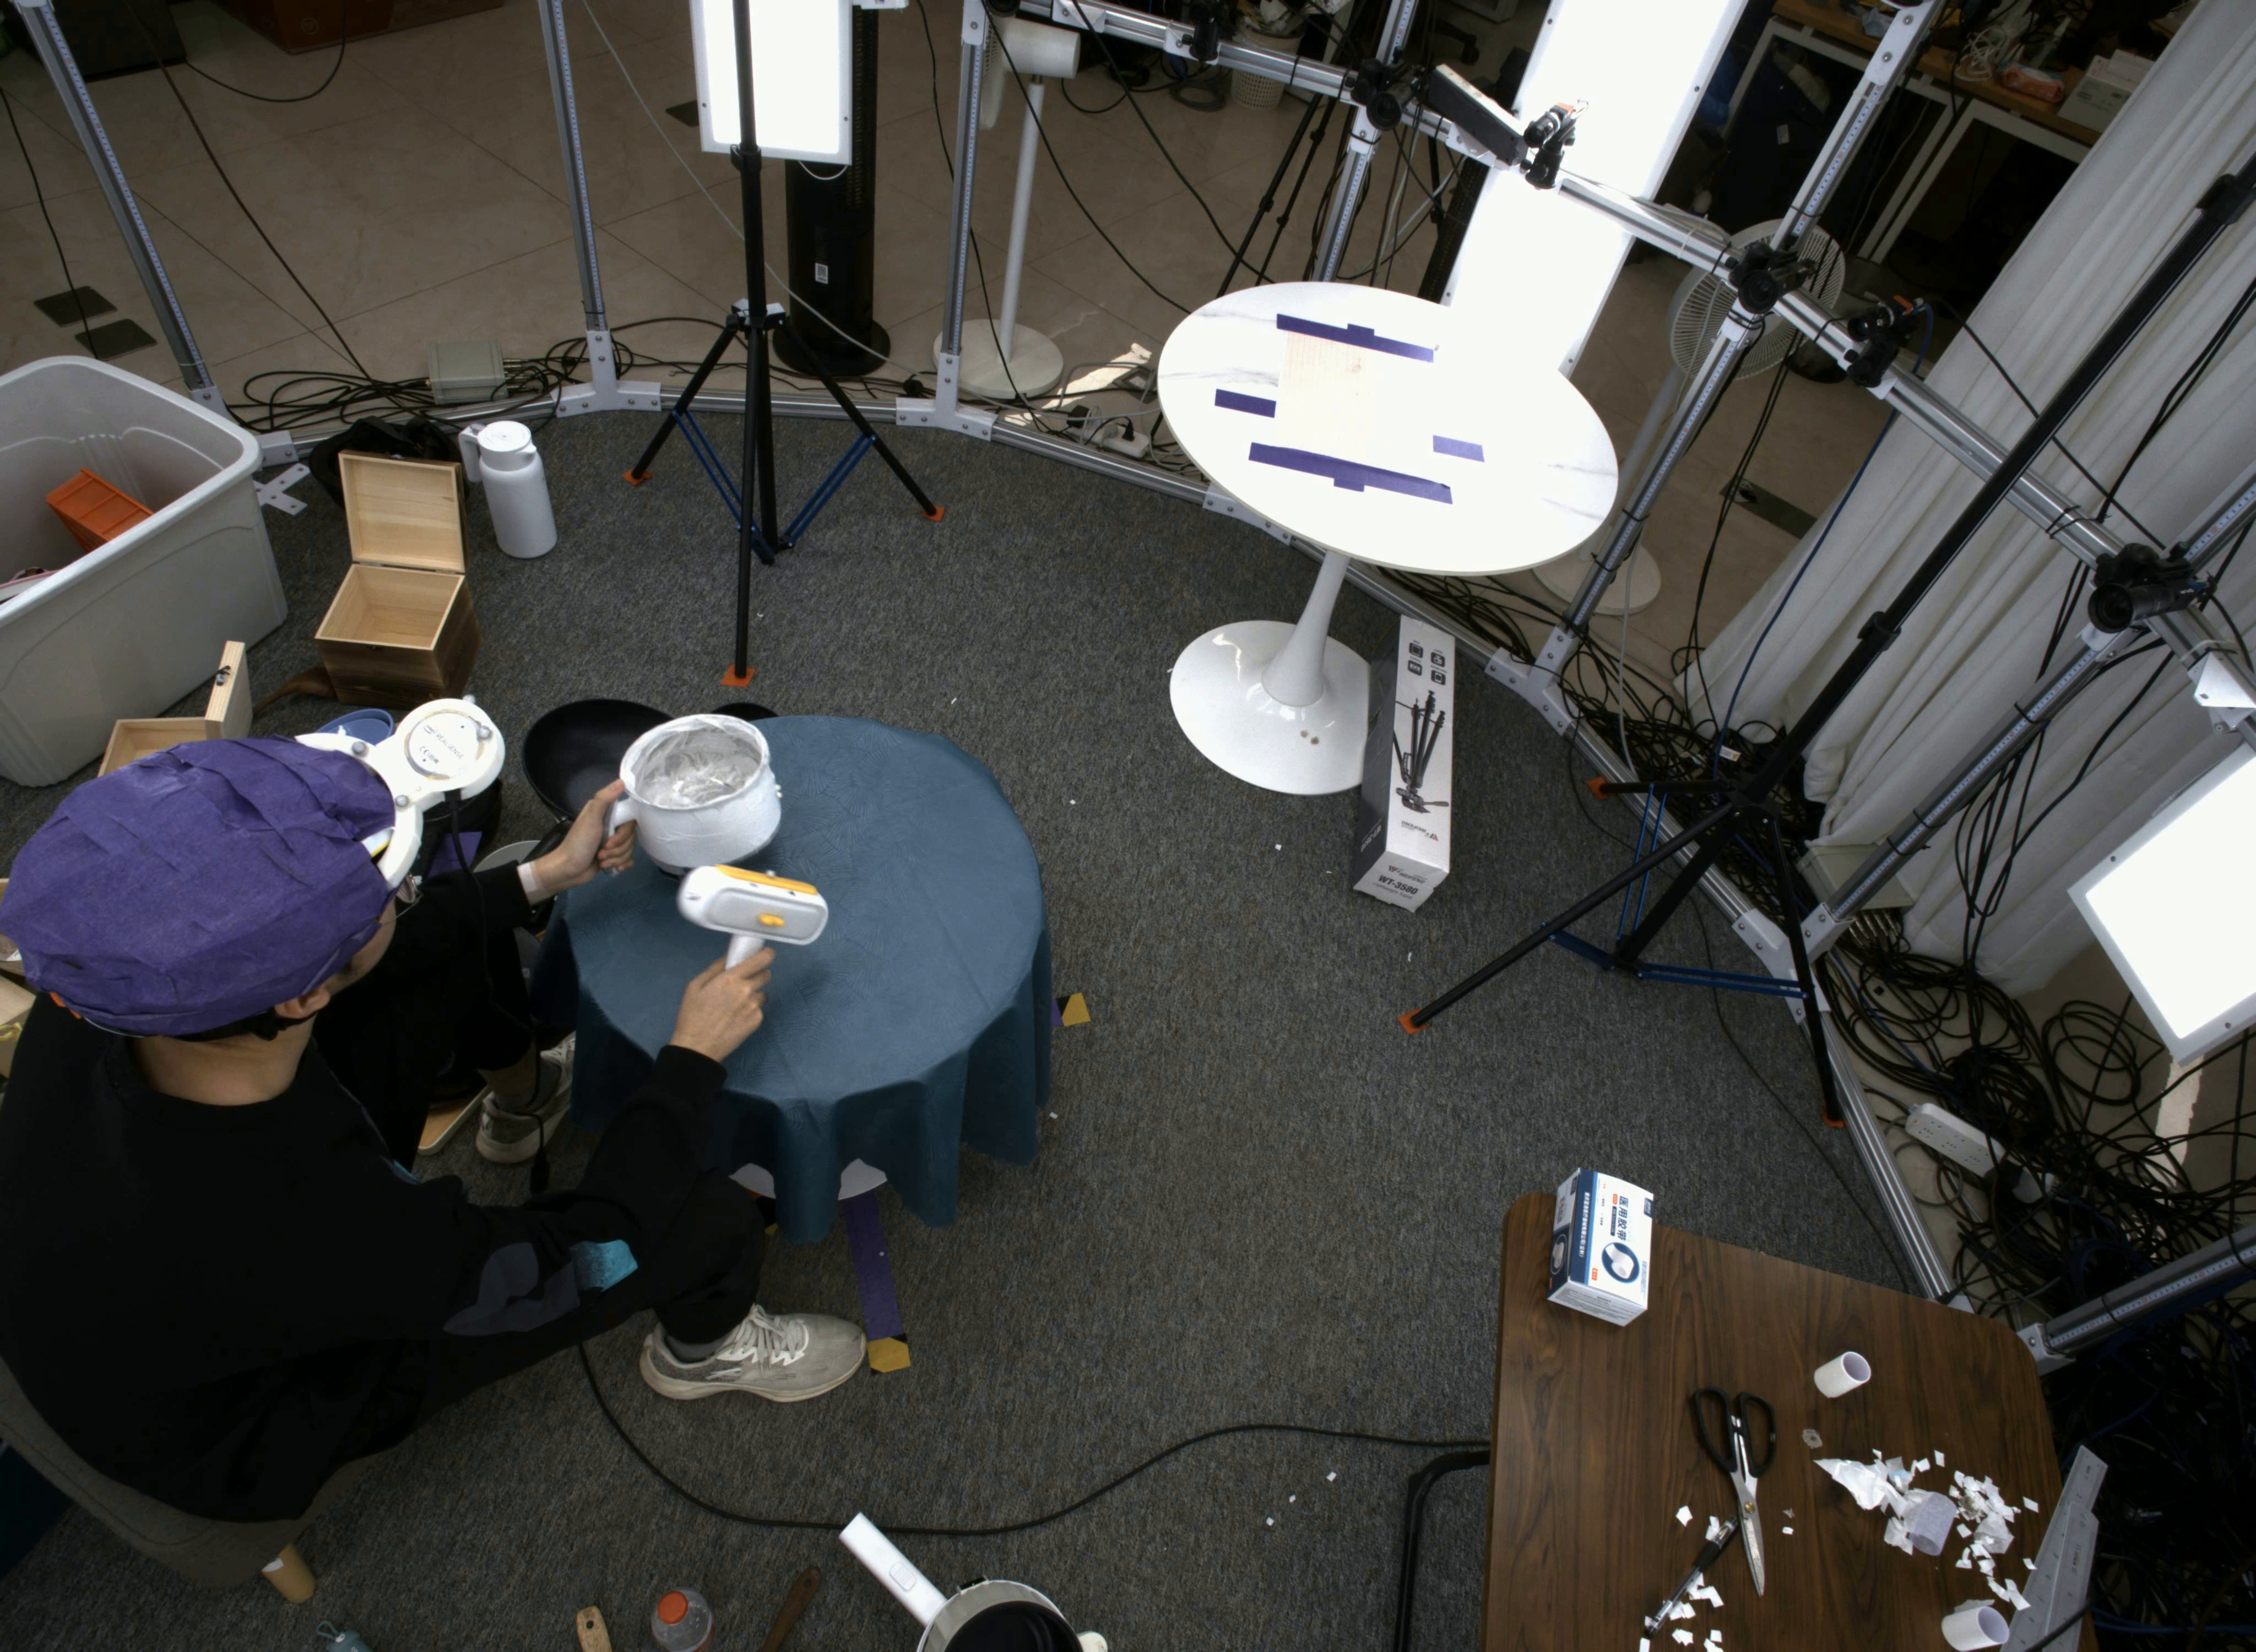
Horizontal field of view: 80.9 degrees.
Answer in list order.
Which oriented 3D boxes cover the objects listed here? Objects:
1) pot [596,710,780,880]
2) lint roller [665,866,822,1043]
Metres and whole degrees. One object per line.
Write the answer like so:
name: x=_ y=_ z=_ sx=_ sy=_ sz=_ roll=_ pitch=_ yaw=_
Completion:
pot: x=-0.547 y=-0.029 z=1.579 sx=0.234 sy=0.141 sz=0.172 roll=-25 pitch=48 yaw=-27
lint roller: x=-0.449 y=0.147 z=1.489 sx=0.071 sy=0.195 sz=0.197 roll=20 pitch=6 yaw=35
